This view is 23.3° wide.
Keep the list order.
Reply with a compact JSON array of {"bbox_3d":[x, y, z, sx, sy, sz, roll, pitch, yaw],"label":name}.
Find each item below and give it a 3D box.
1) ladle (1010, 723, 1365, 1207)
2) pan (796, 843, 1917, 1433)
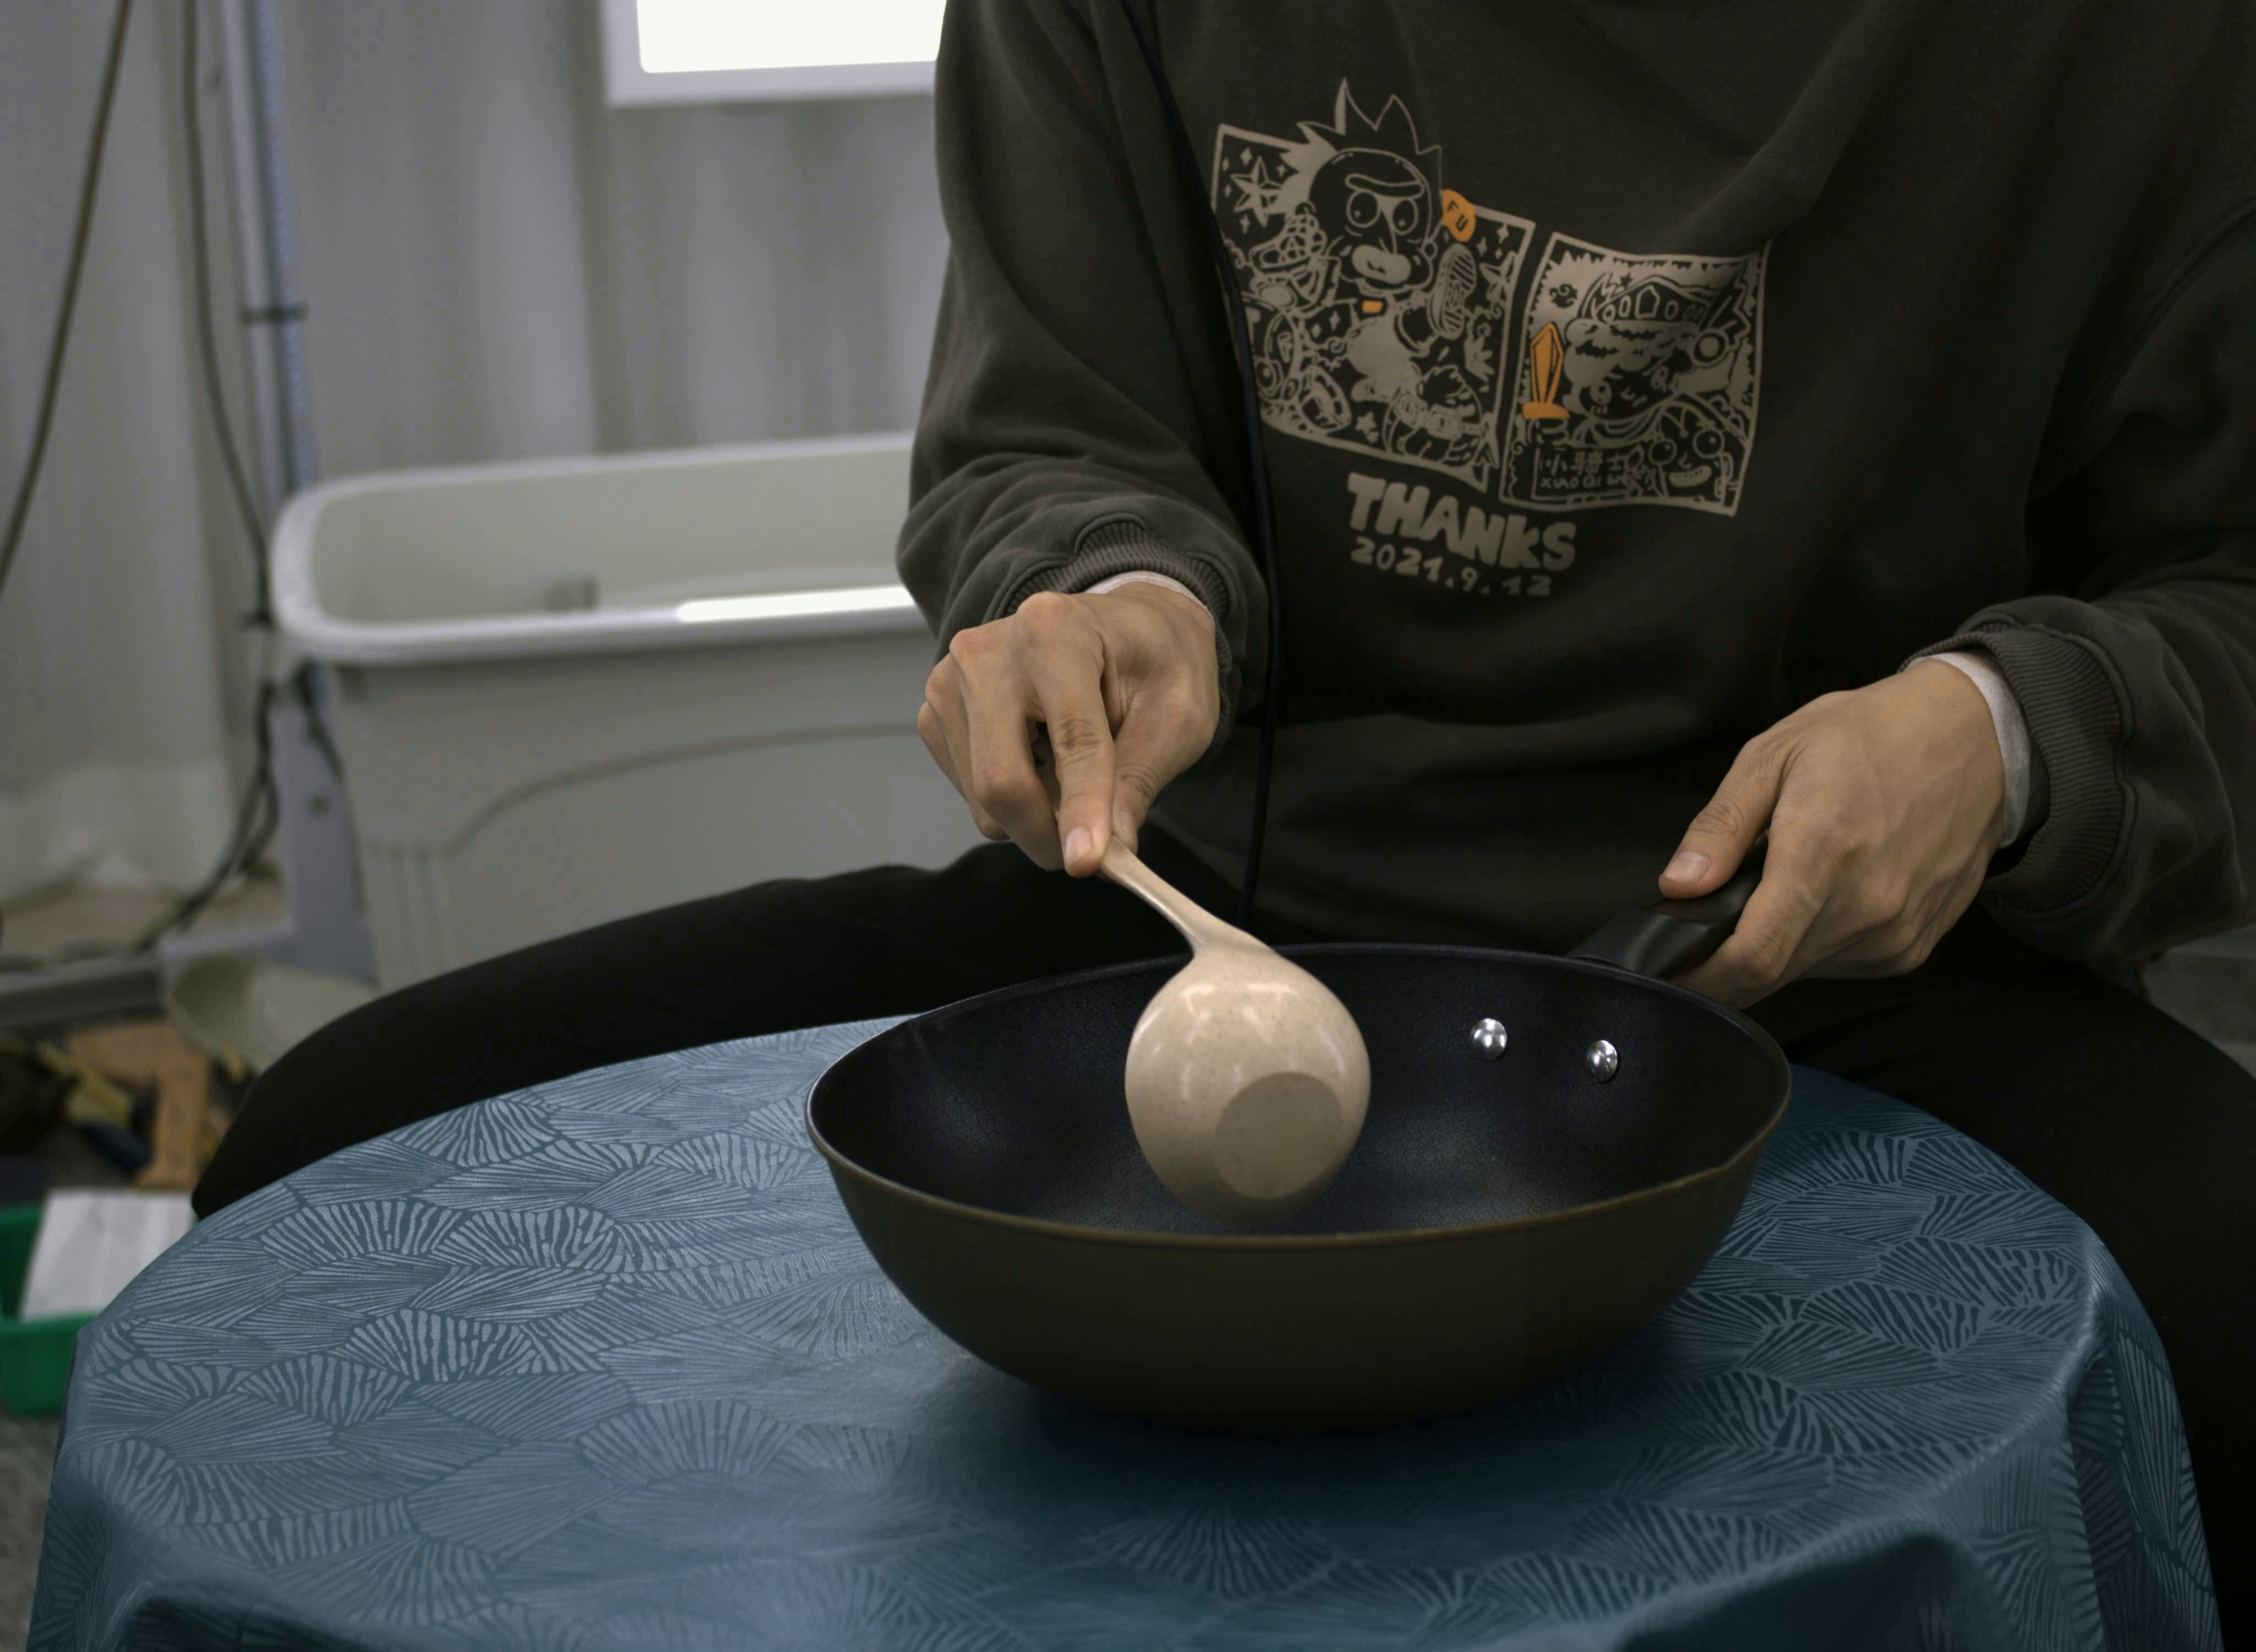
[{"bbox_3d":[0.002,0.041,1.637,0.072,0.072,0.257,1,18,-18],"label":"ladle"},{"bbox_3d":[0.103,0.090,1.639,0.289,0.086,0.463,9,18,37],"label":"pan"}]
